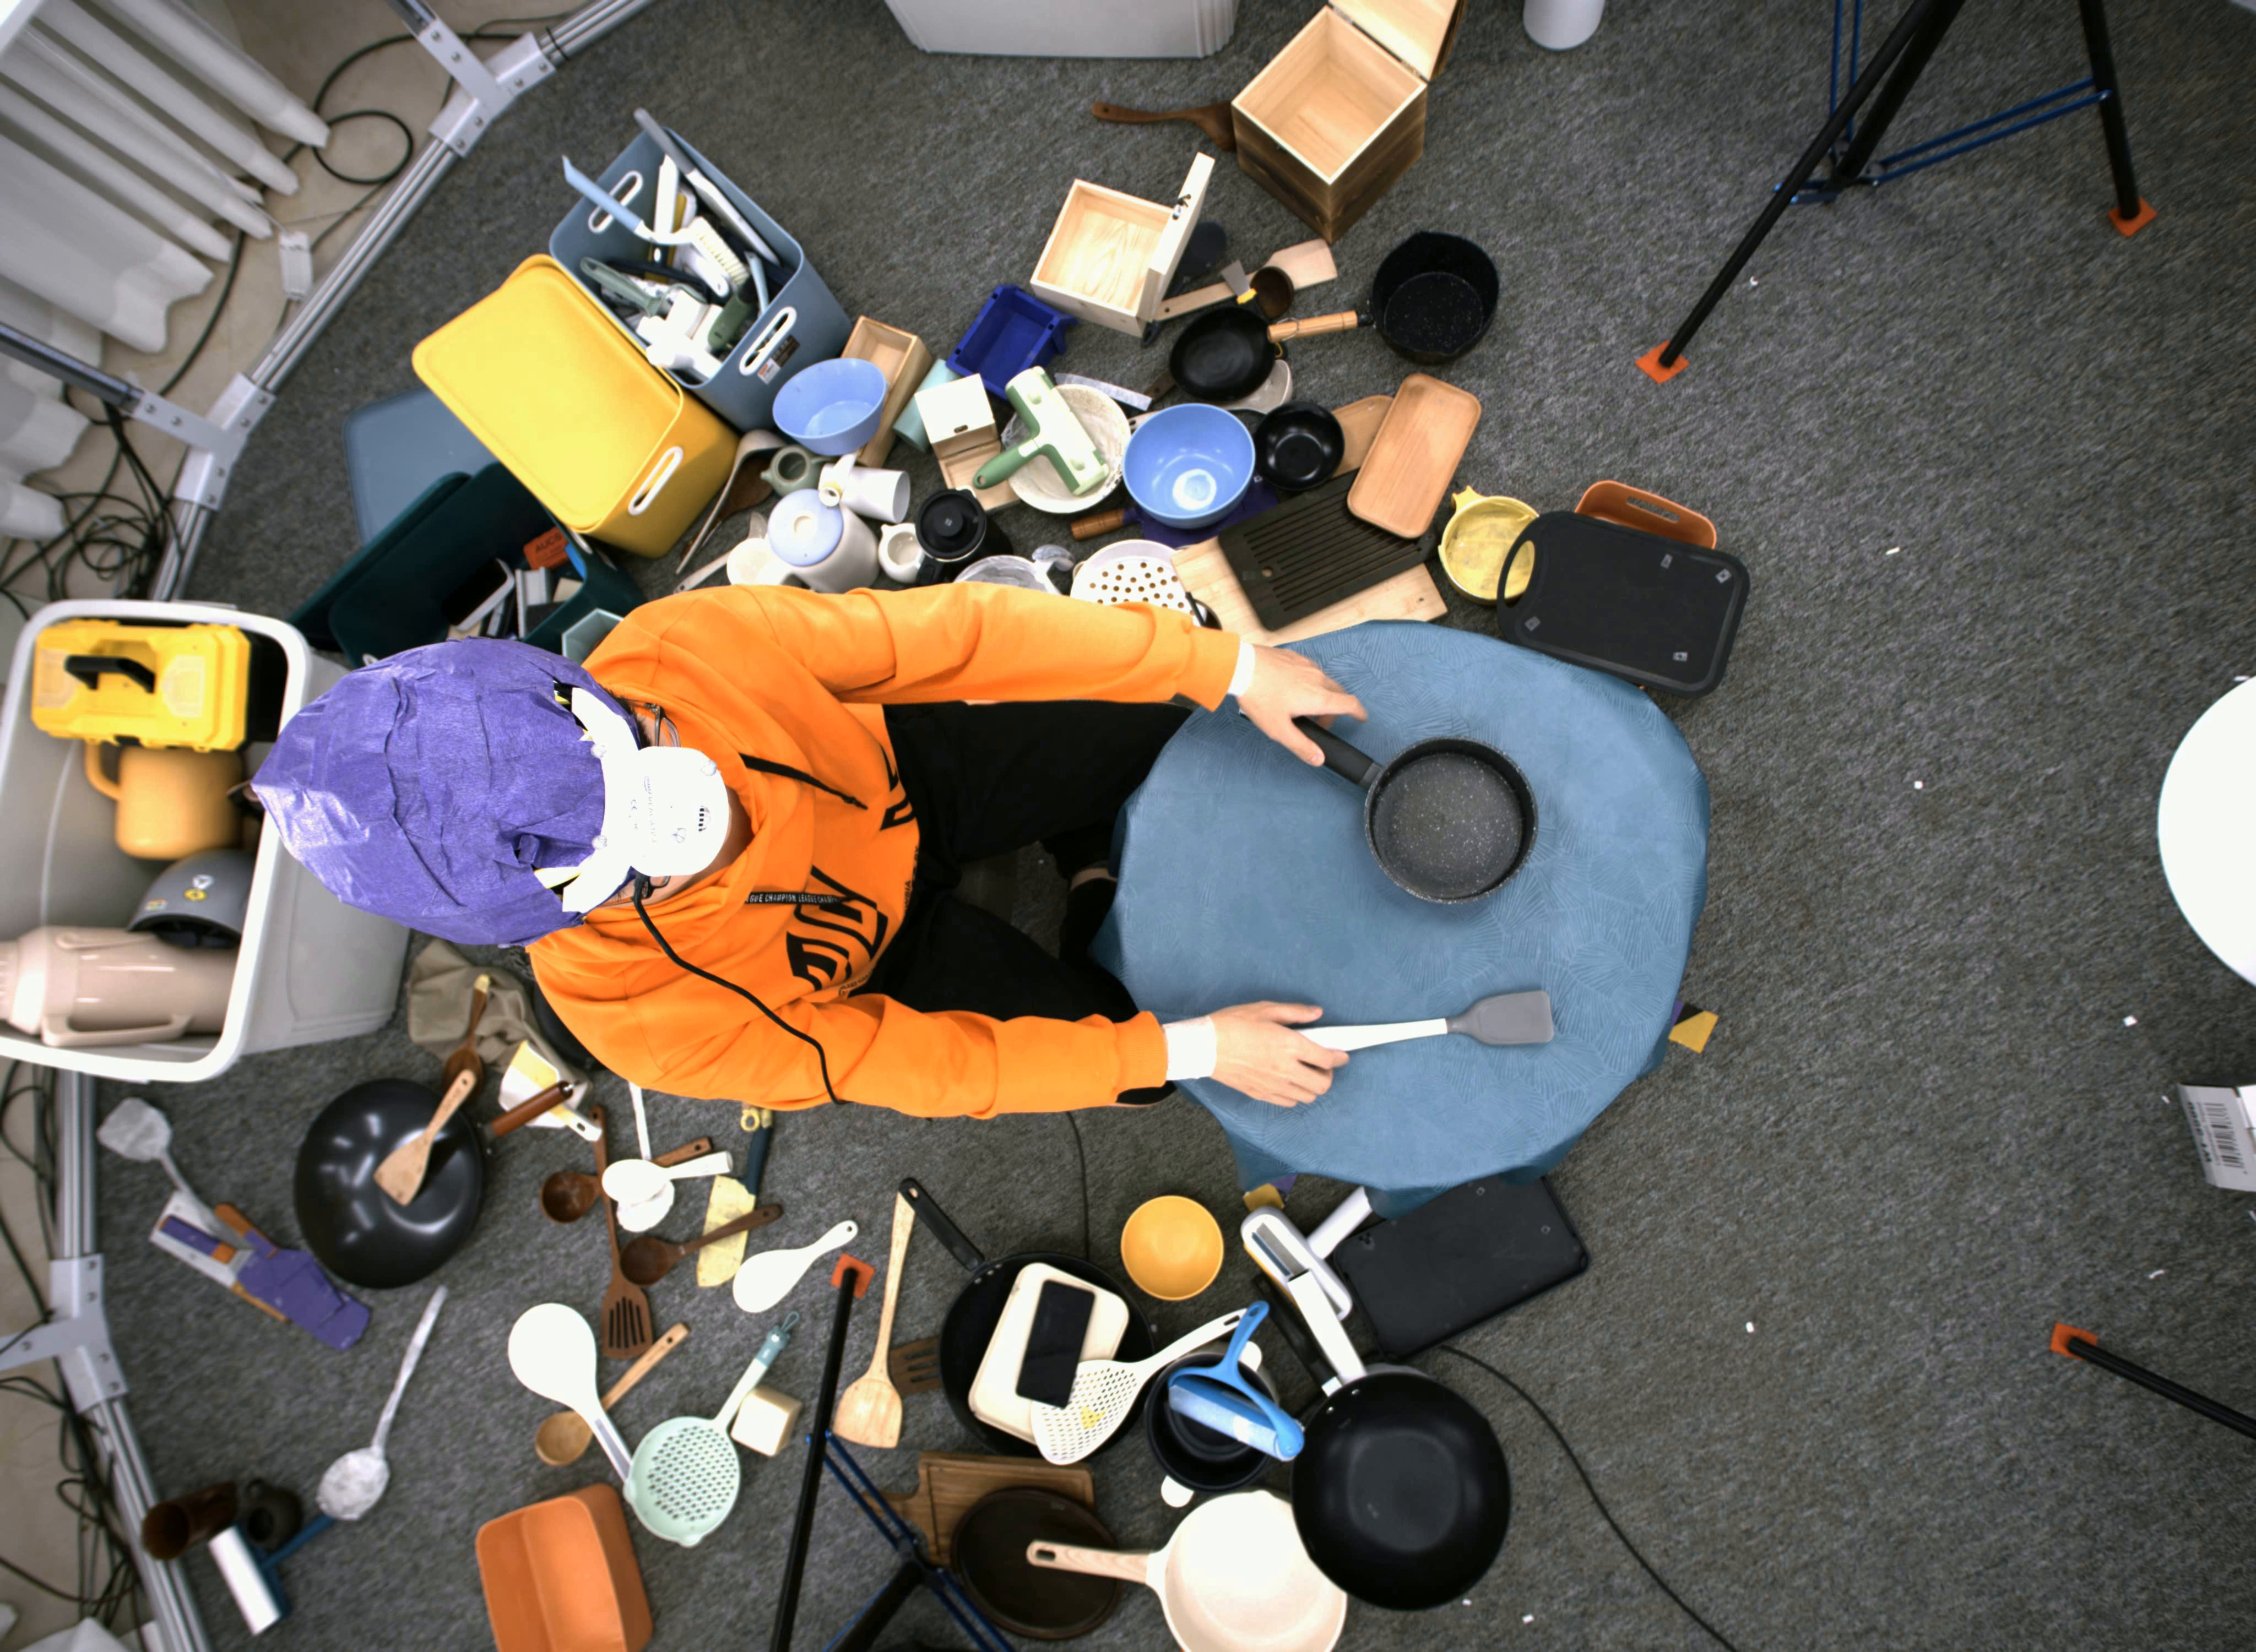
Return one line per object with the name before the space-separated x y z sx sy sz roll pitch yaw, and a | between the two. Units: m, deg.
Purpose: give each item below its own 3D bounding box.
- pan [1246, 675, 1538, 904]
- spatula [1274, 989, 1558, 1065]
pan | 0.264 -0.049 1.425 0.328 0.086 0.172 34 92 9
spatula | 0.296 0.211 1.431 0.289 0.032 0.058 -9 82 11
